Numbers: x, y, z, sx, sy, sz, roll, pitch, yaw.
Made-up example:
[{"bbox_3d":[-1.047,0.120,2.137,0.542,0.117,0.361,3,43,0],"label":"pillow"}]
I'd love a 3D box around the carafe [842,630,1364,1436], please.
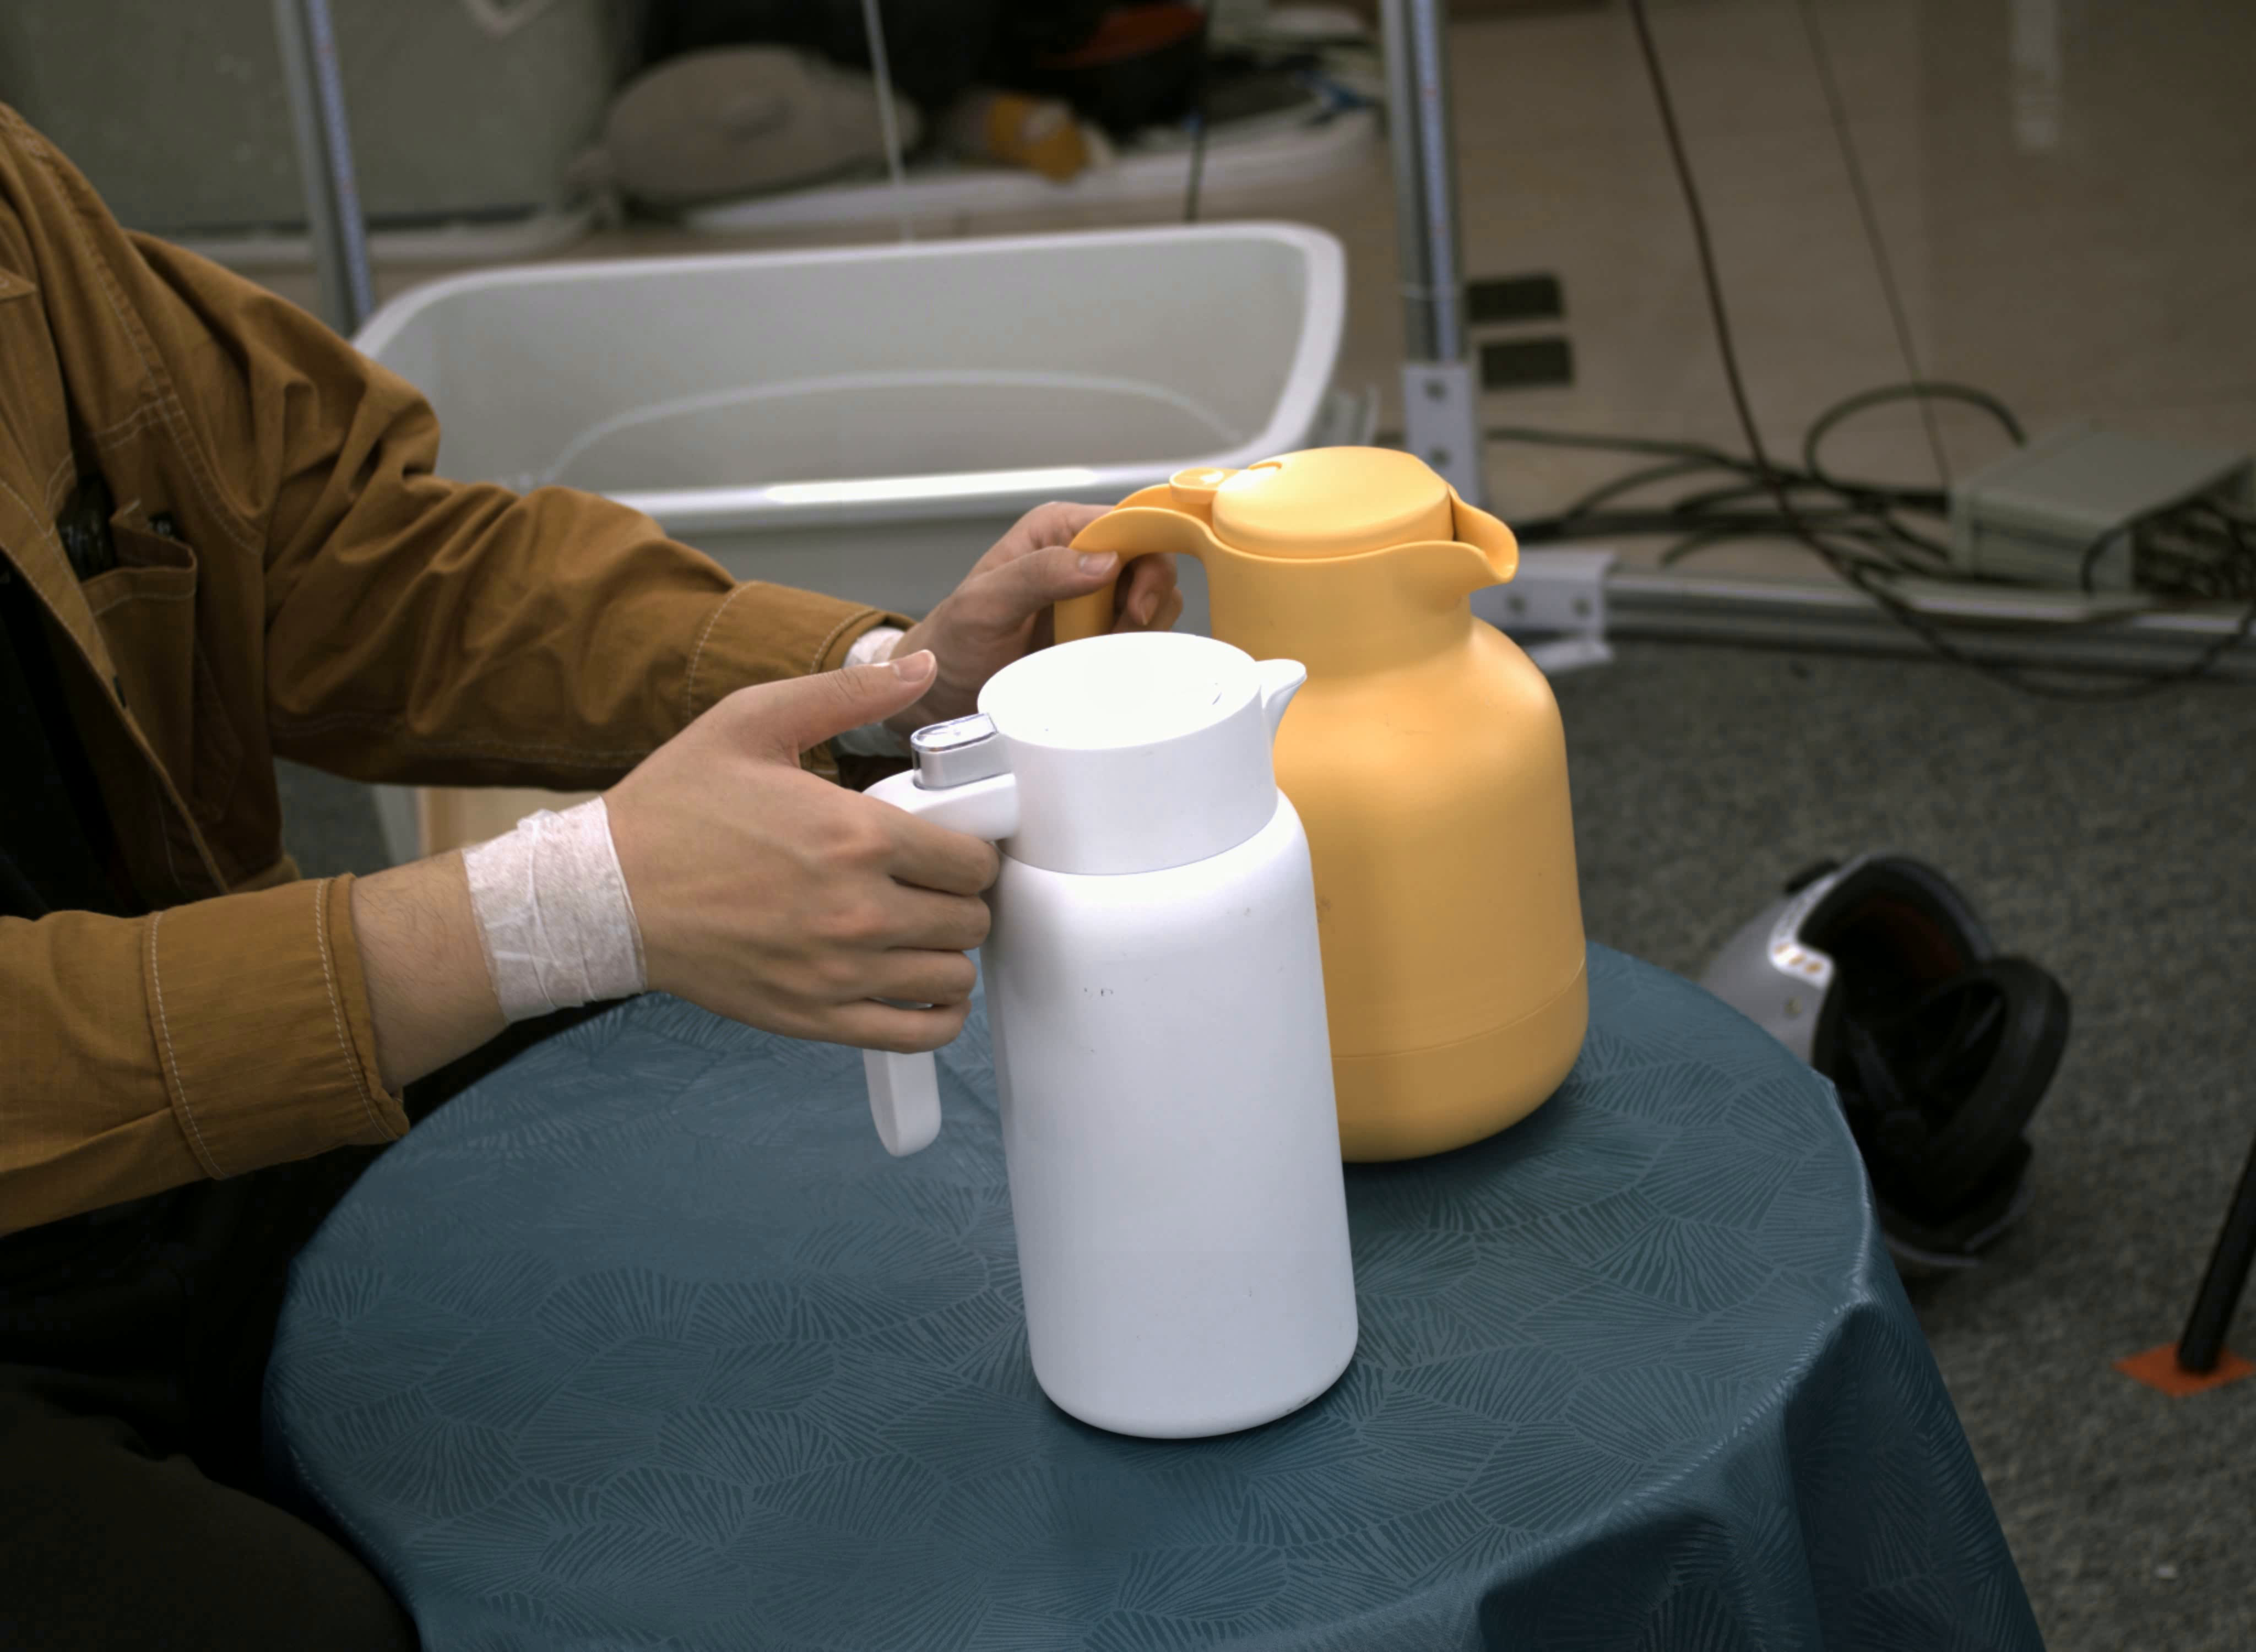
[{"bbox_3d":[-0.003,0.077,1.962,0.172,0.273,0.122,-17,30,-19],"label":"carafe"}]

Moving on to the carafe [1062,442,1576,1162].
[{"bbox_3d":[0.070,-0.017,2.151,0.201,0.264,0.162,12,29,31],"label":"carafe"}]
